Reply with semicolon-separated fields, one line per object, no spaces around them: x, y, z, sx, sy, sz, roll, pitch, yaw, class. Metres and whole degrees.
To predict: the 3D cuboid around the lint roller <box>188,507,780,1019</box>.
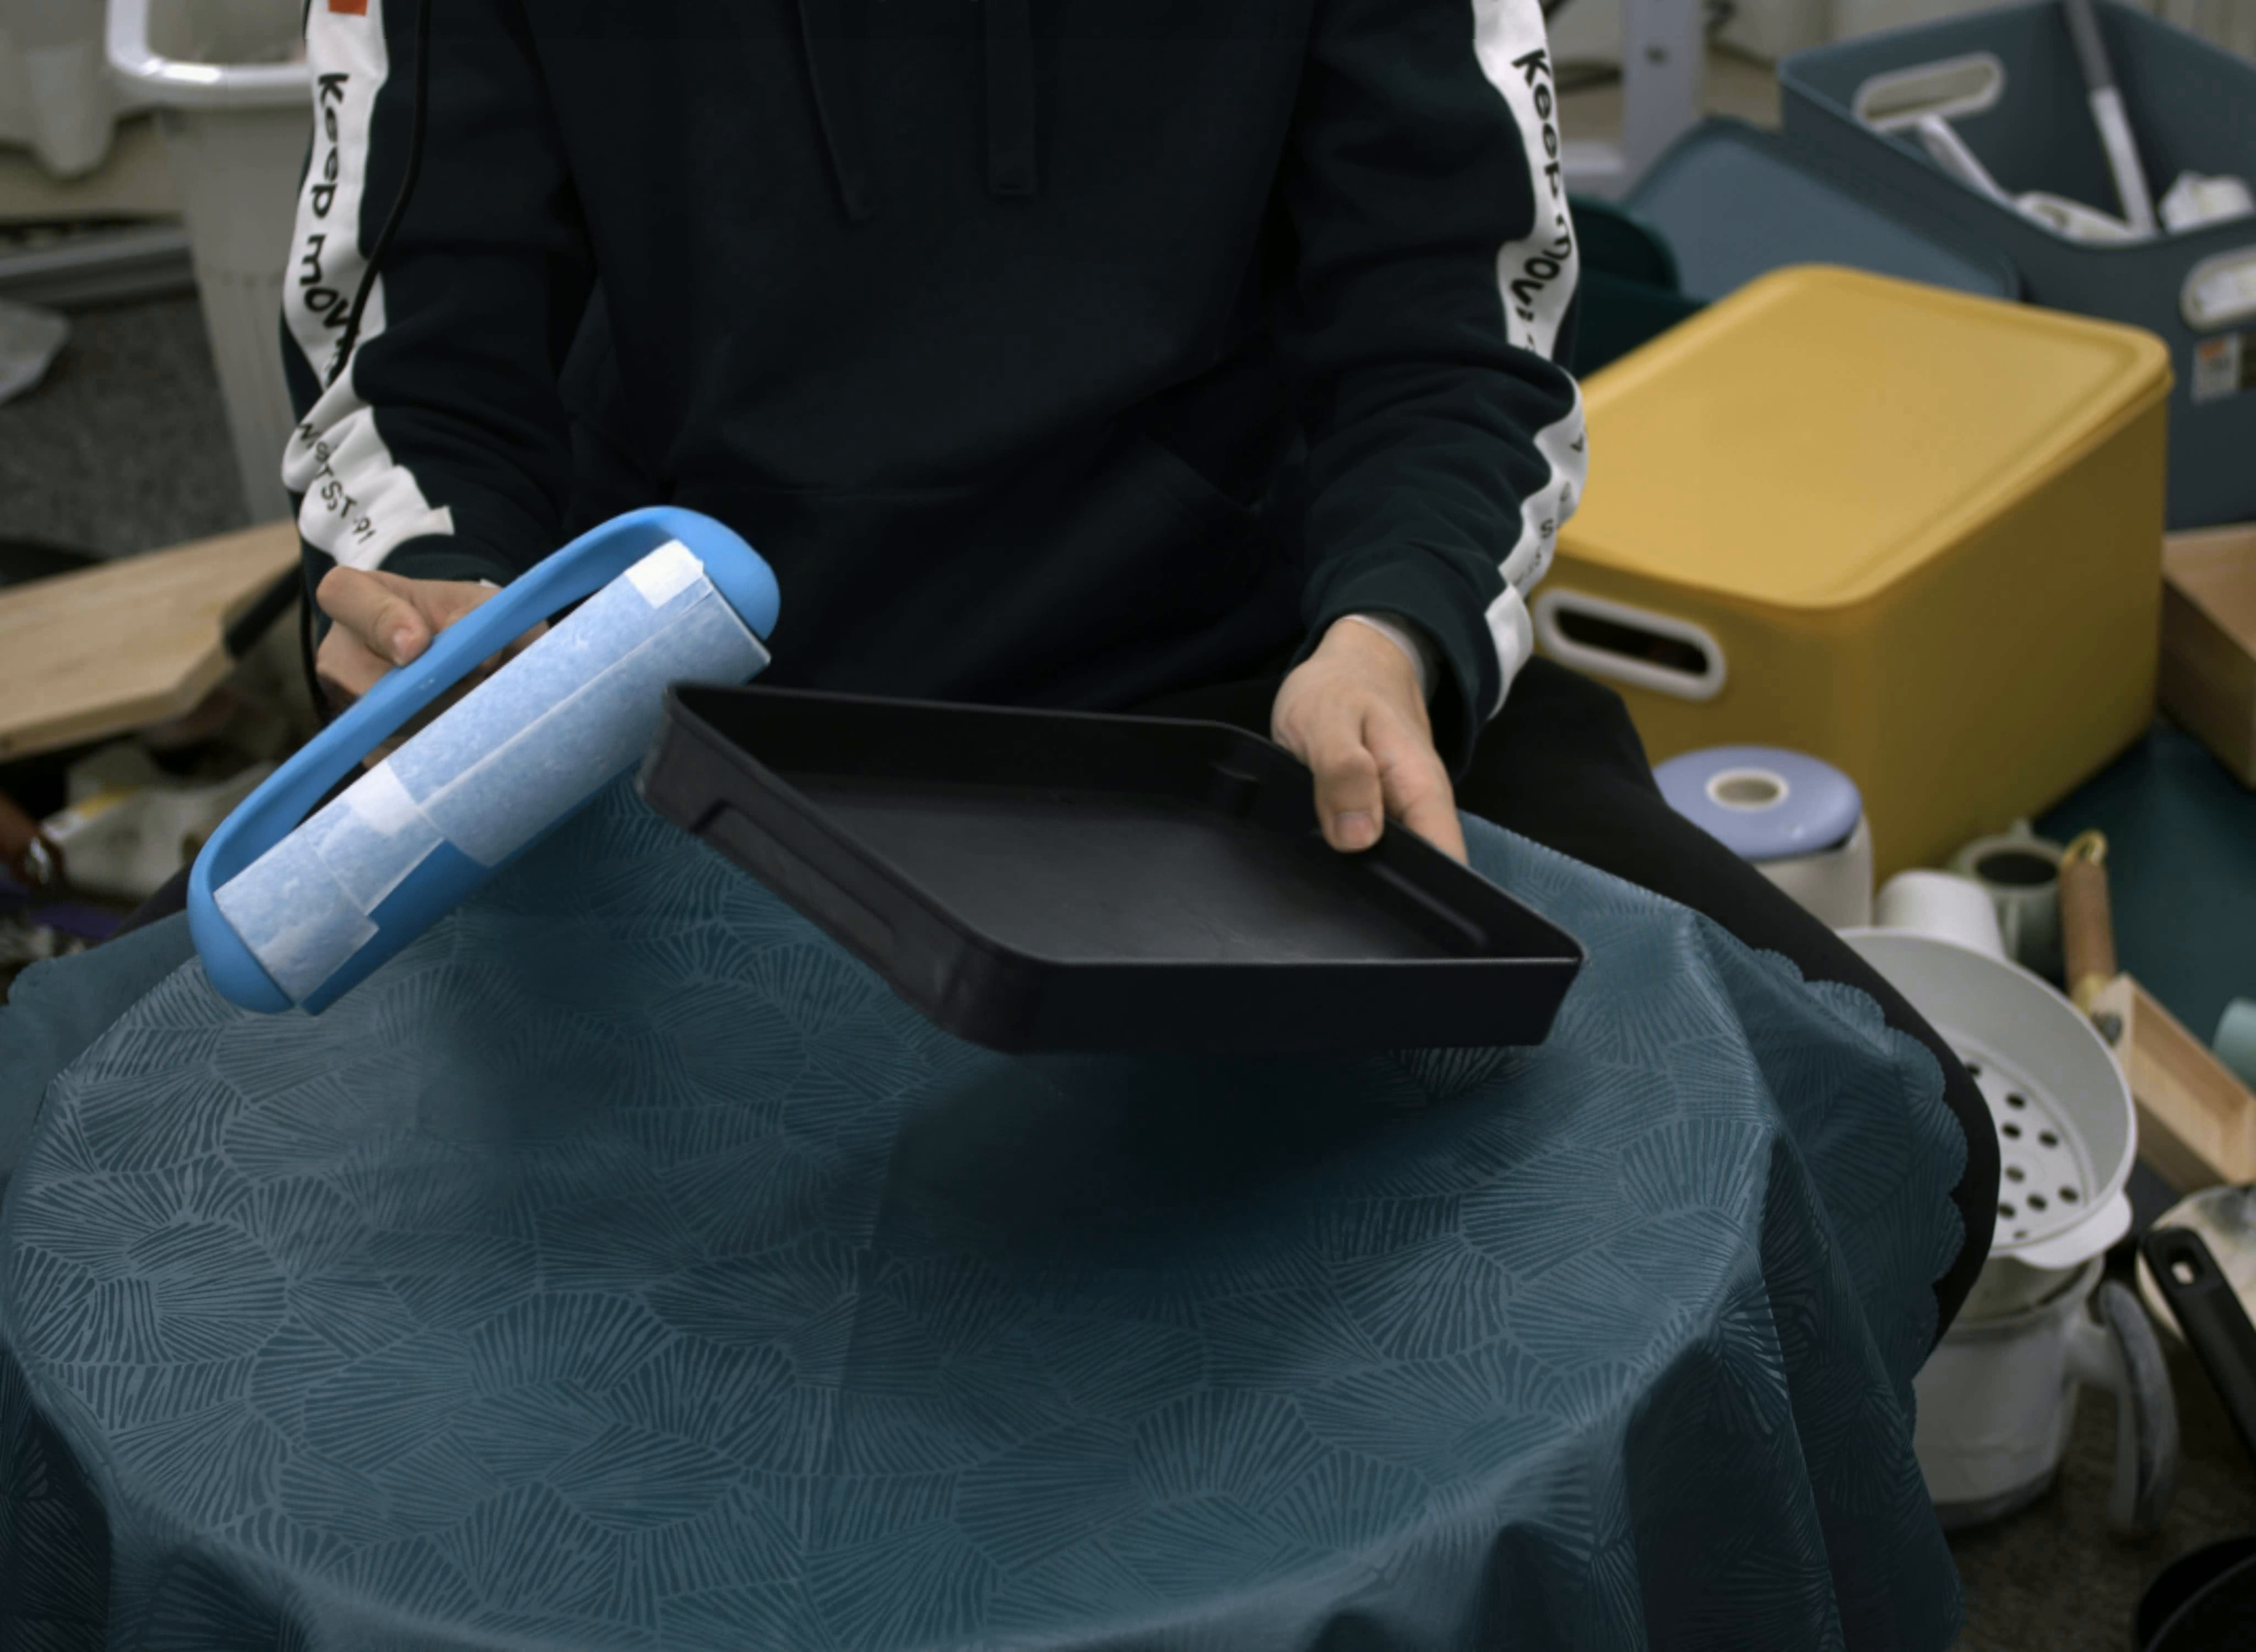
-0.226;-0.030;1.906;0.229;0.067;0.181;-40;21;-6;lint roller

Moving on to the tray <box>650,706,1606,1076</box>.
0.004;0.018;1.845;0.184;0.037;0.319;33;20;33;tray
